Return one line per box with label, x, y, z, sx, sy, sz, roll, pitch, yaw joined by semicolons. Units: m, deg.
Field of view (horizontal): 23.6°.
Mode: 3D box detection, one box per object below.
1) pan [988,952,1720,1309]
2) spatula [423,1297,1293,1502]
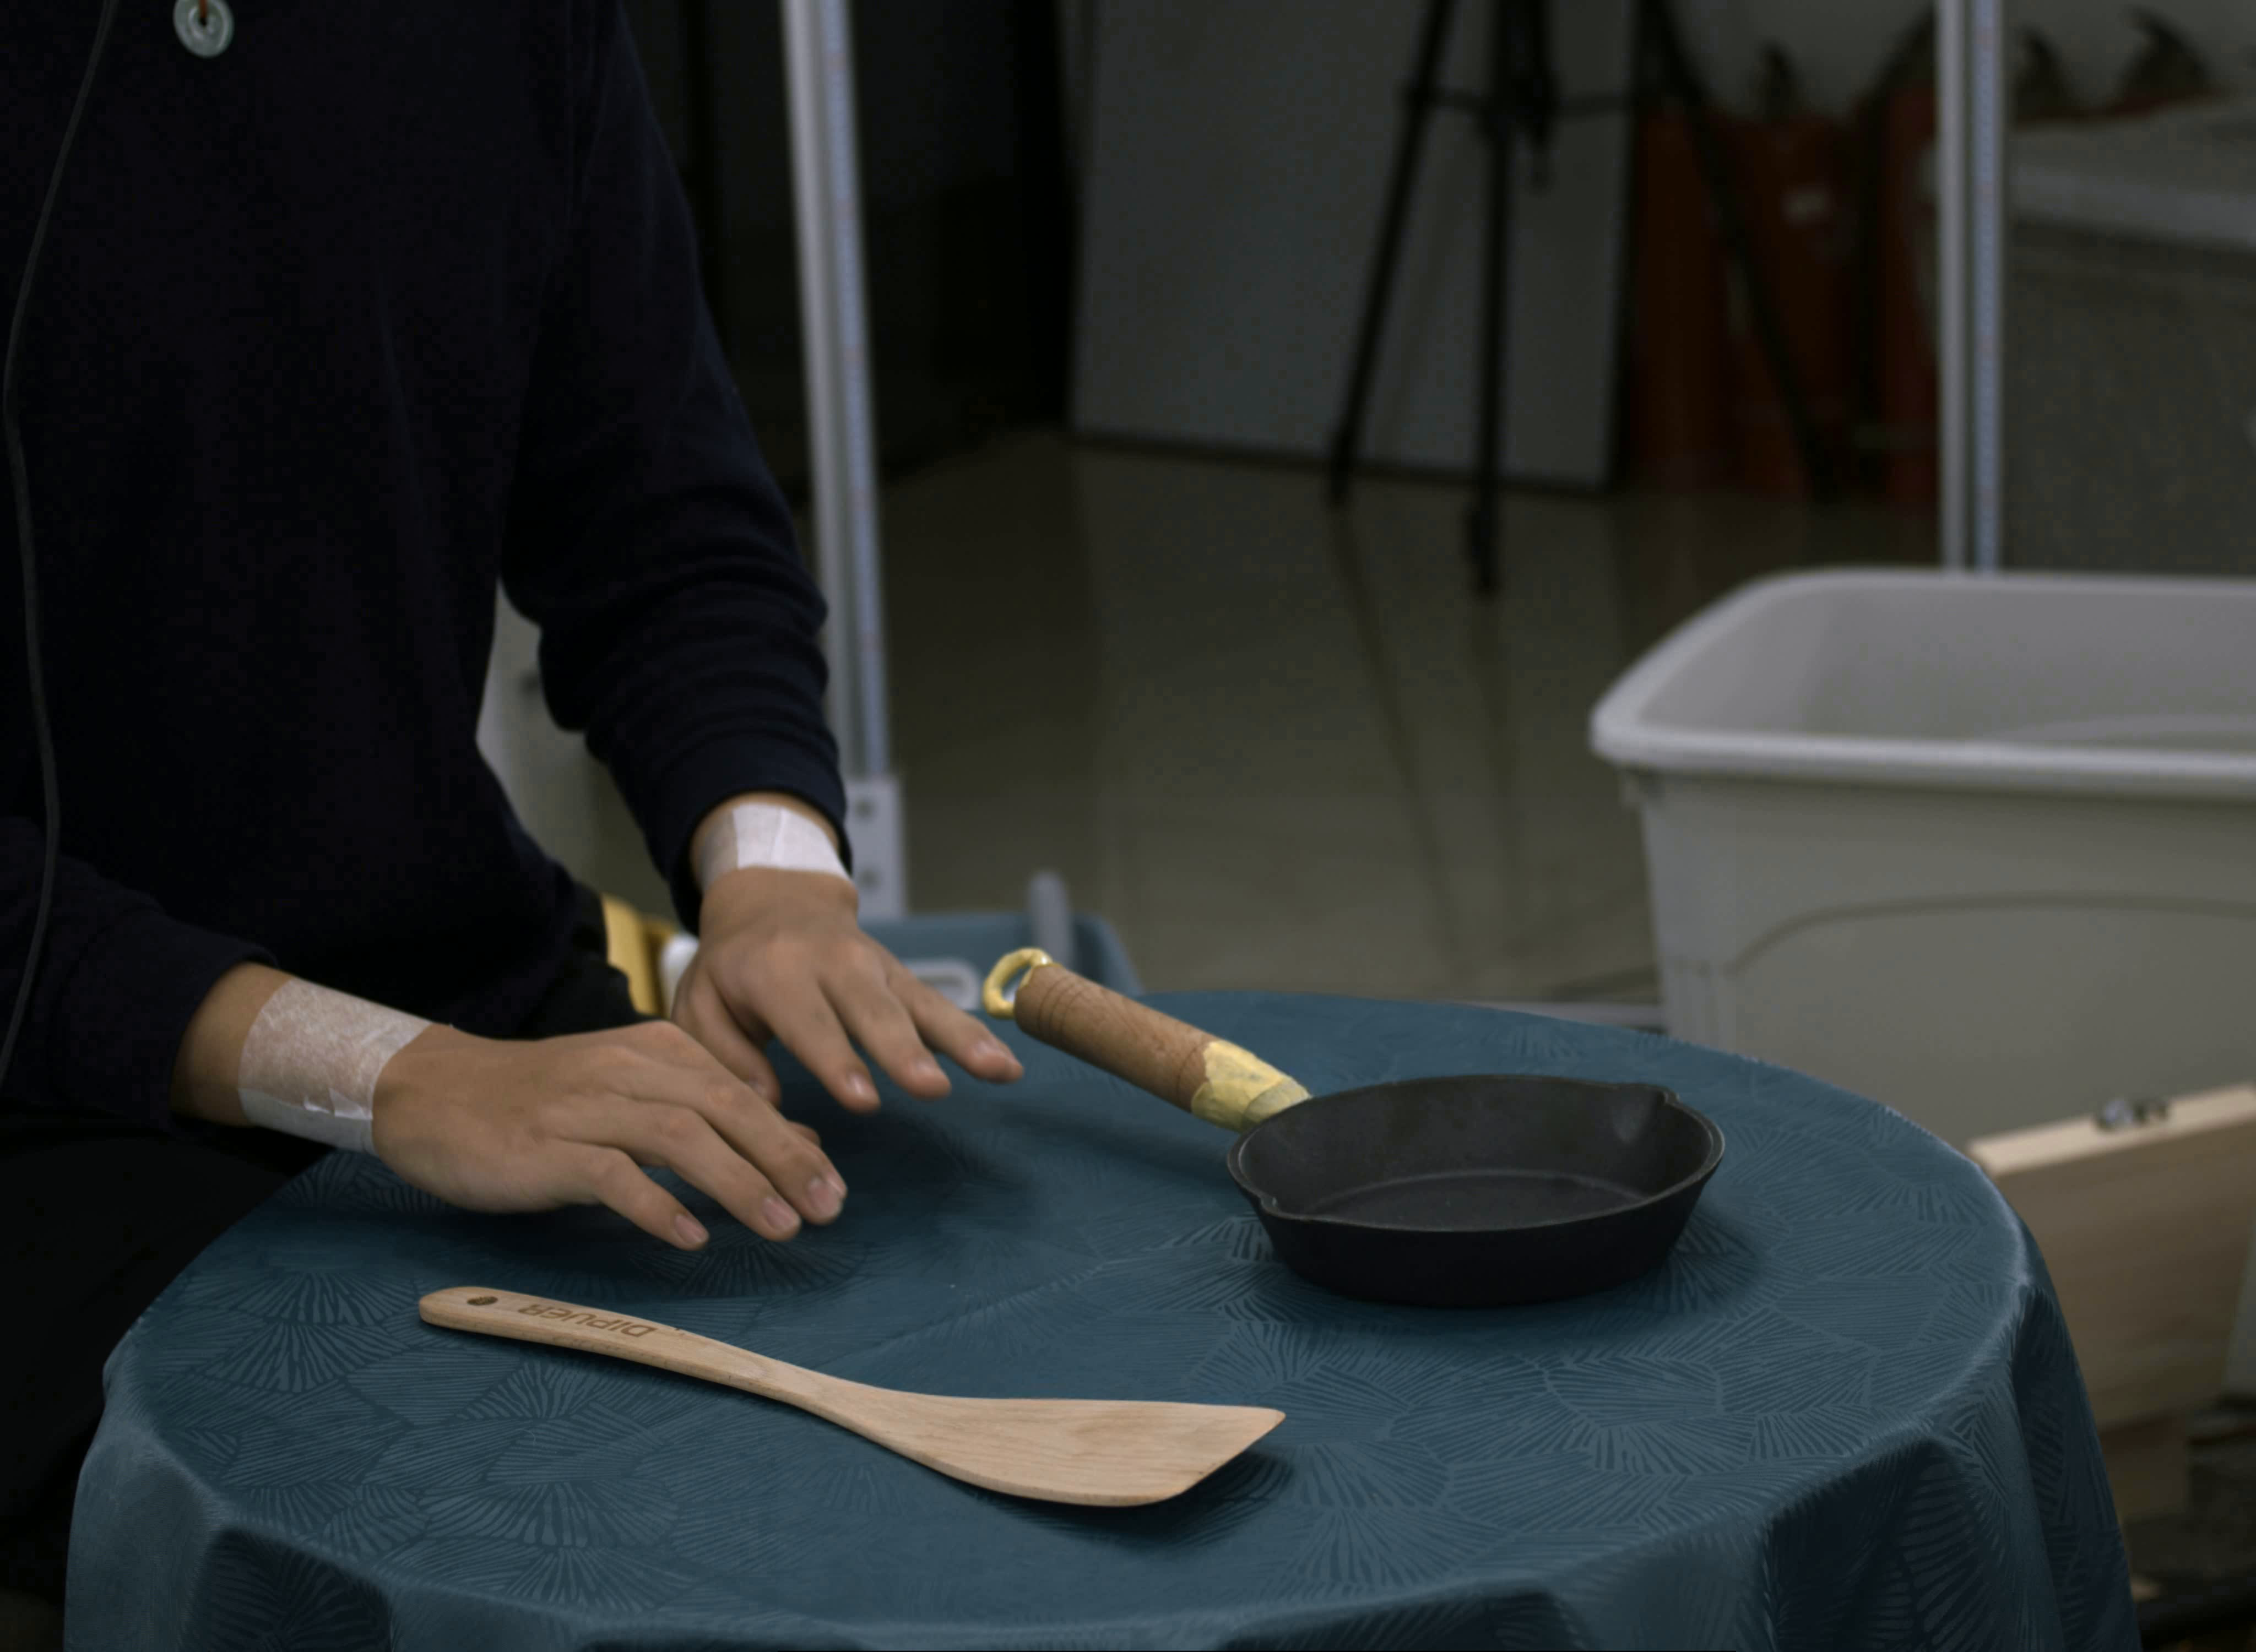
pan;0.058;0.094;1.756;0.165;0.050;0.327;-14;18;-35
spatula;-0.090;0.164;1.592;0.330;0.017;0.078;7;17;39
